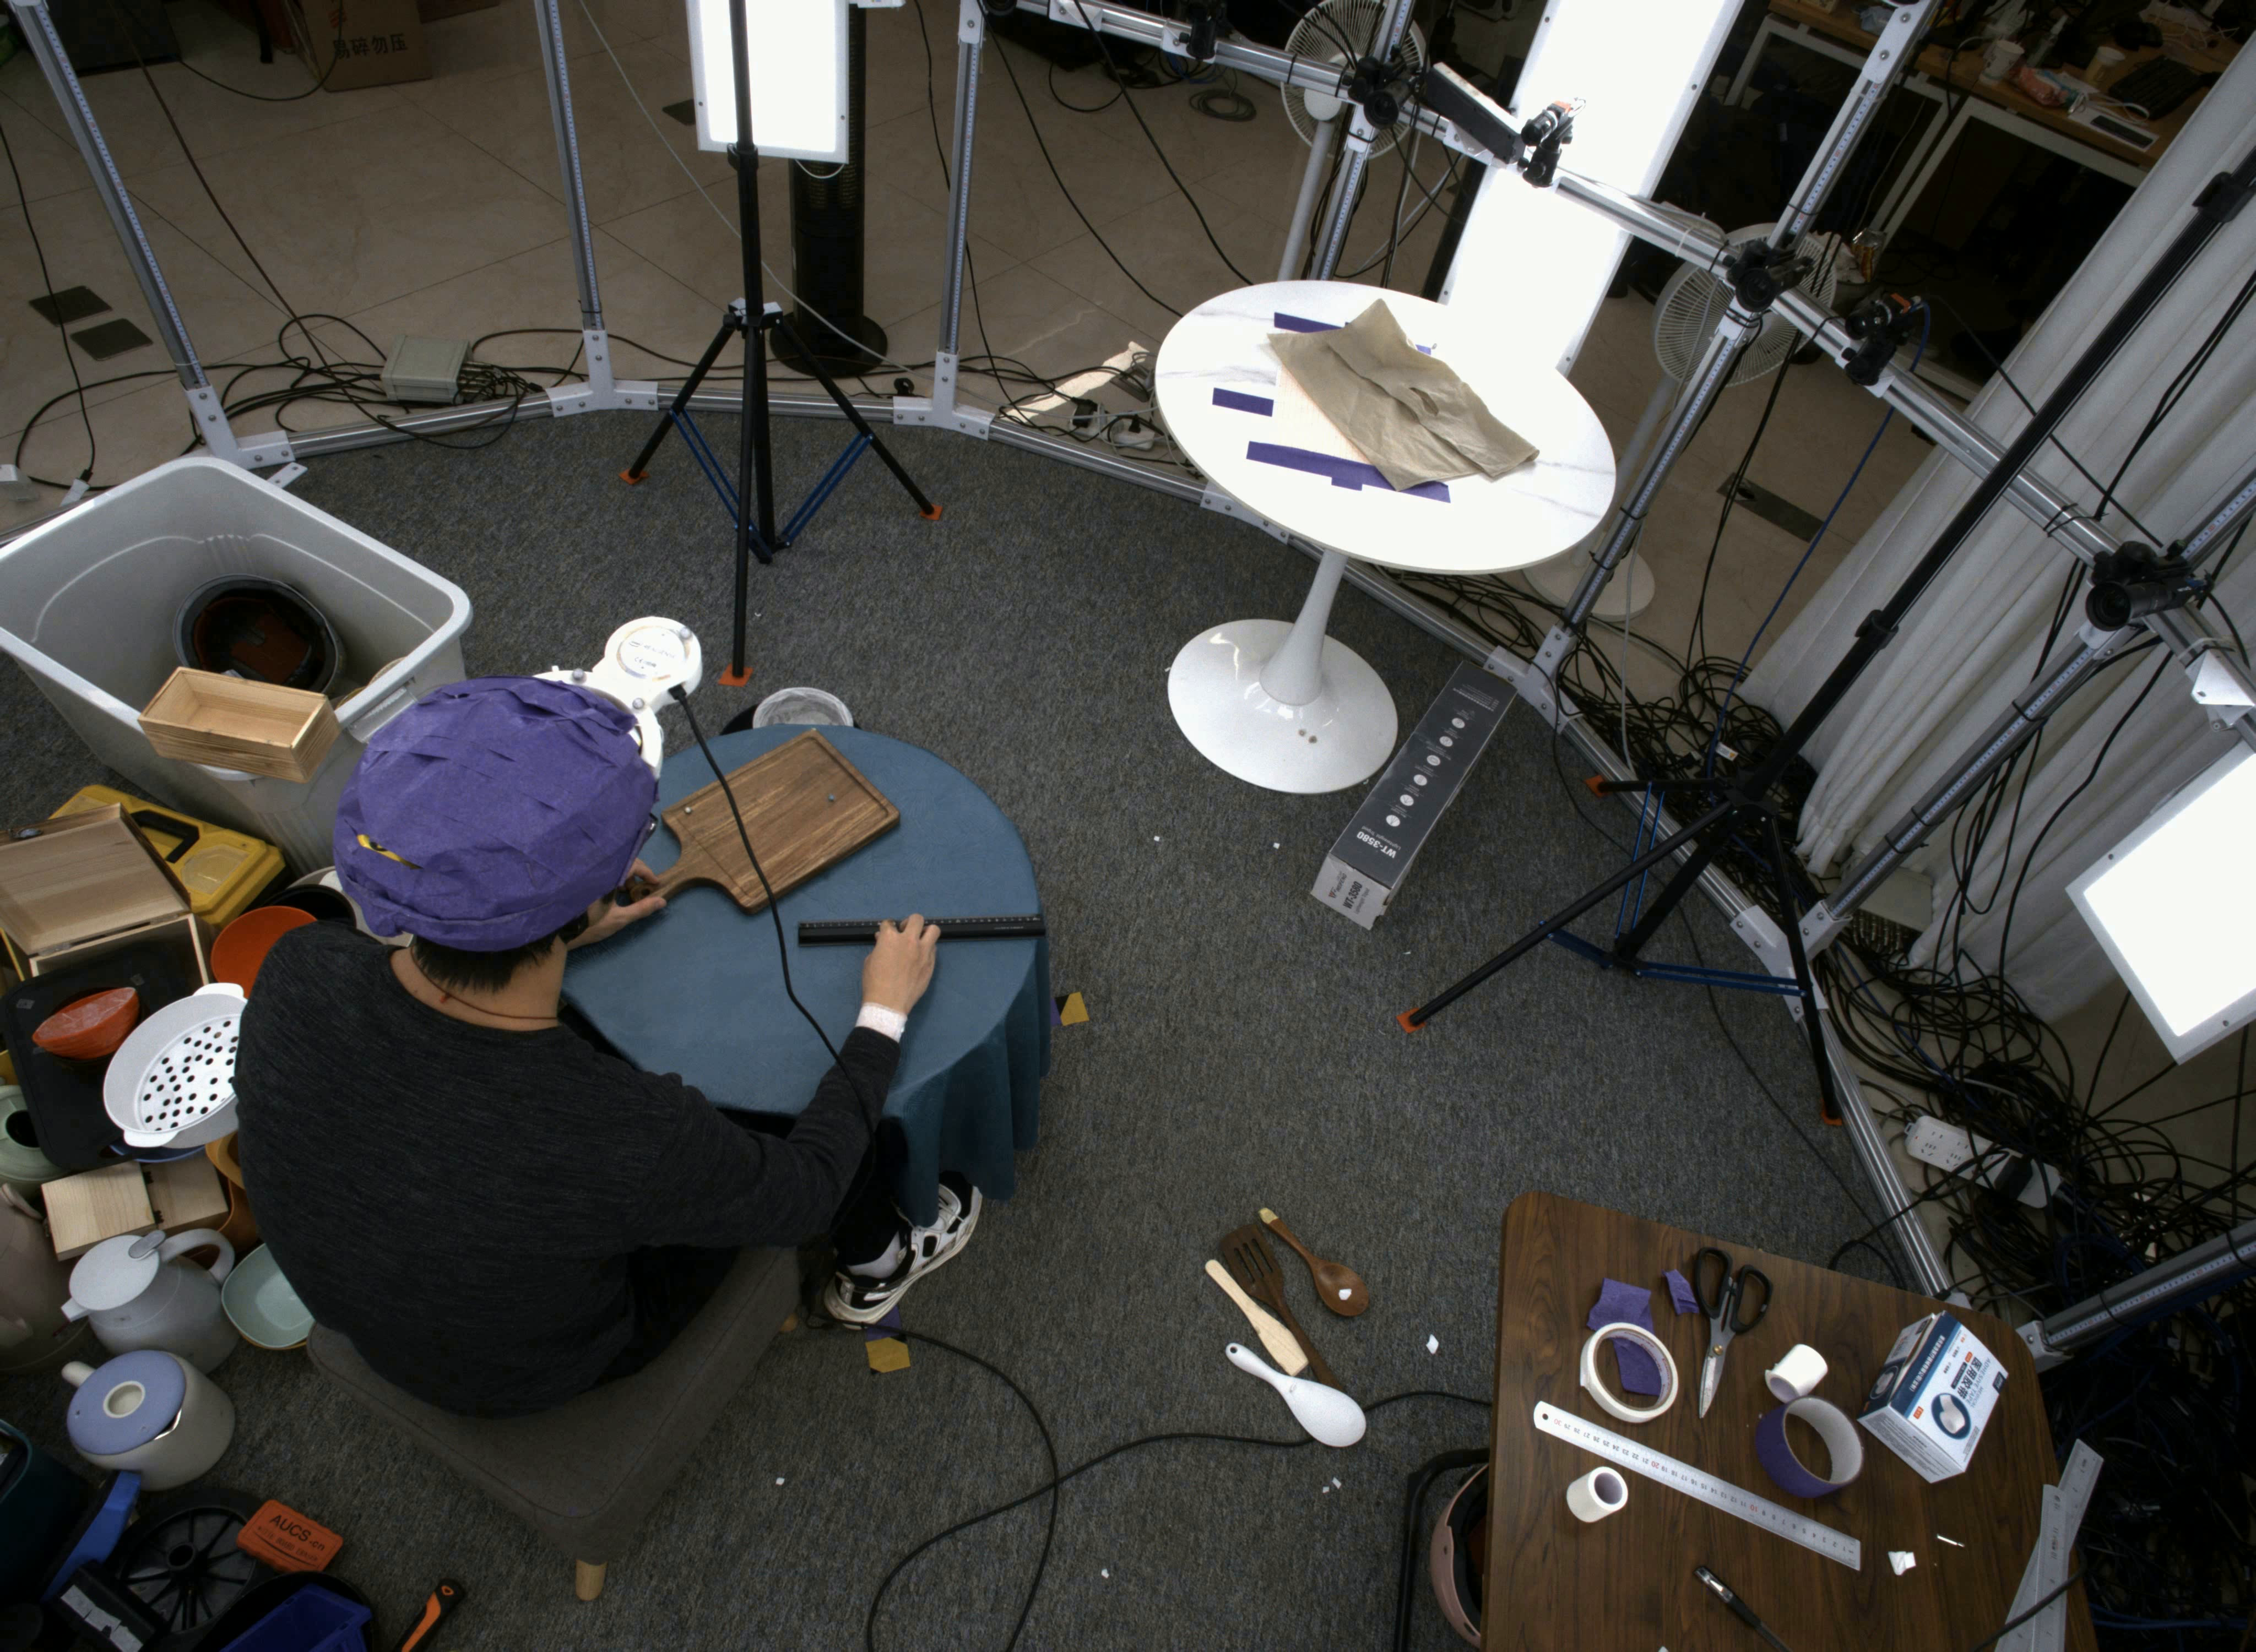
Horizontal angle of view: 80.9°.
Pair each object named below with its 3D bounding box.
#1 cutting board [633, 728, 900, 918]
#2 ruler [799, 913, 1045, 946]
[{"bbox_3d":[-0.490,0.012,1.679,0.196,0.023,0.353,42,55,17],"label":"cutting board"},{"bbox_3d":[-0.260,0.125,1.659,0.313,0.017,0.038,-1,51,-15],"label":"ruler"}]
